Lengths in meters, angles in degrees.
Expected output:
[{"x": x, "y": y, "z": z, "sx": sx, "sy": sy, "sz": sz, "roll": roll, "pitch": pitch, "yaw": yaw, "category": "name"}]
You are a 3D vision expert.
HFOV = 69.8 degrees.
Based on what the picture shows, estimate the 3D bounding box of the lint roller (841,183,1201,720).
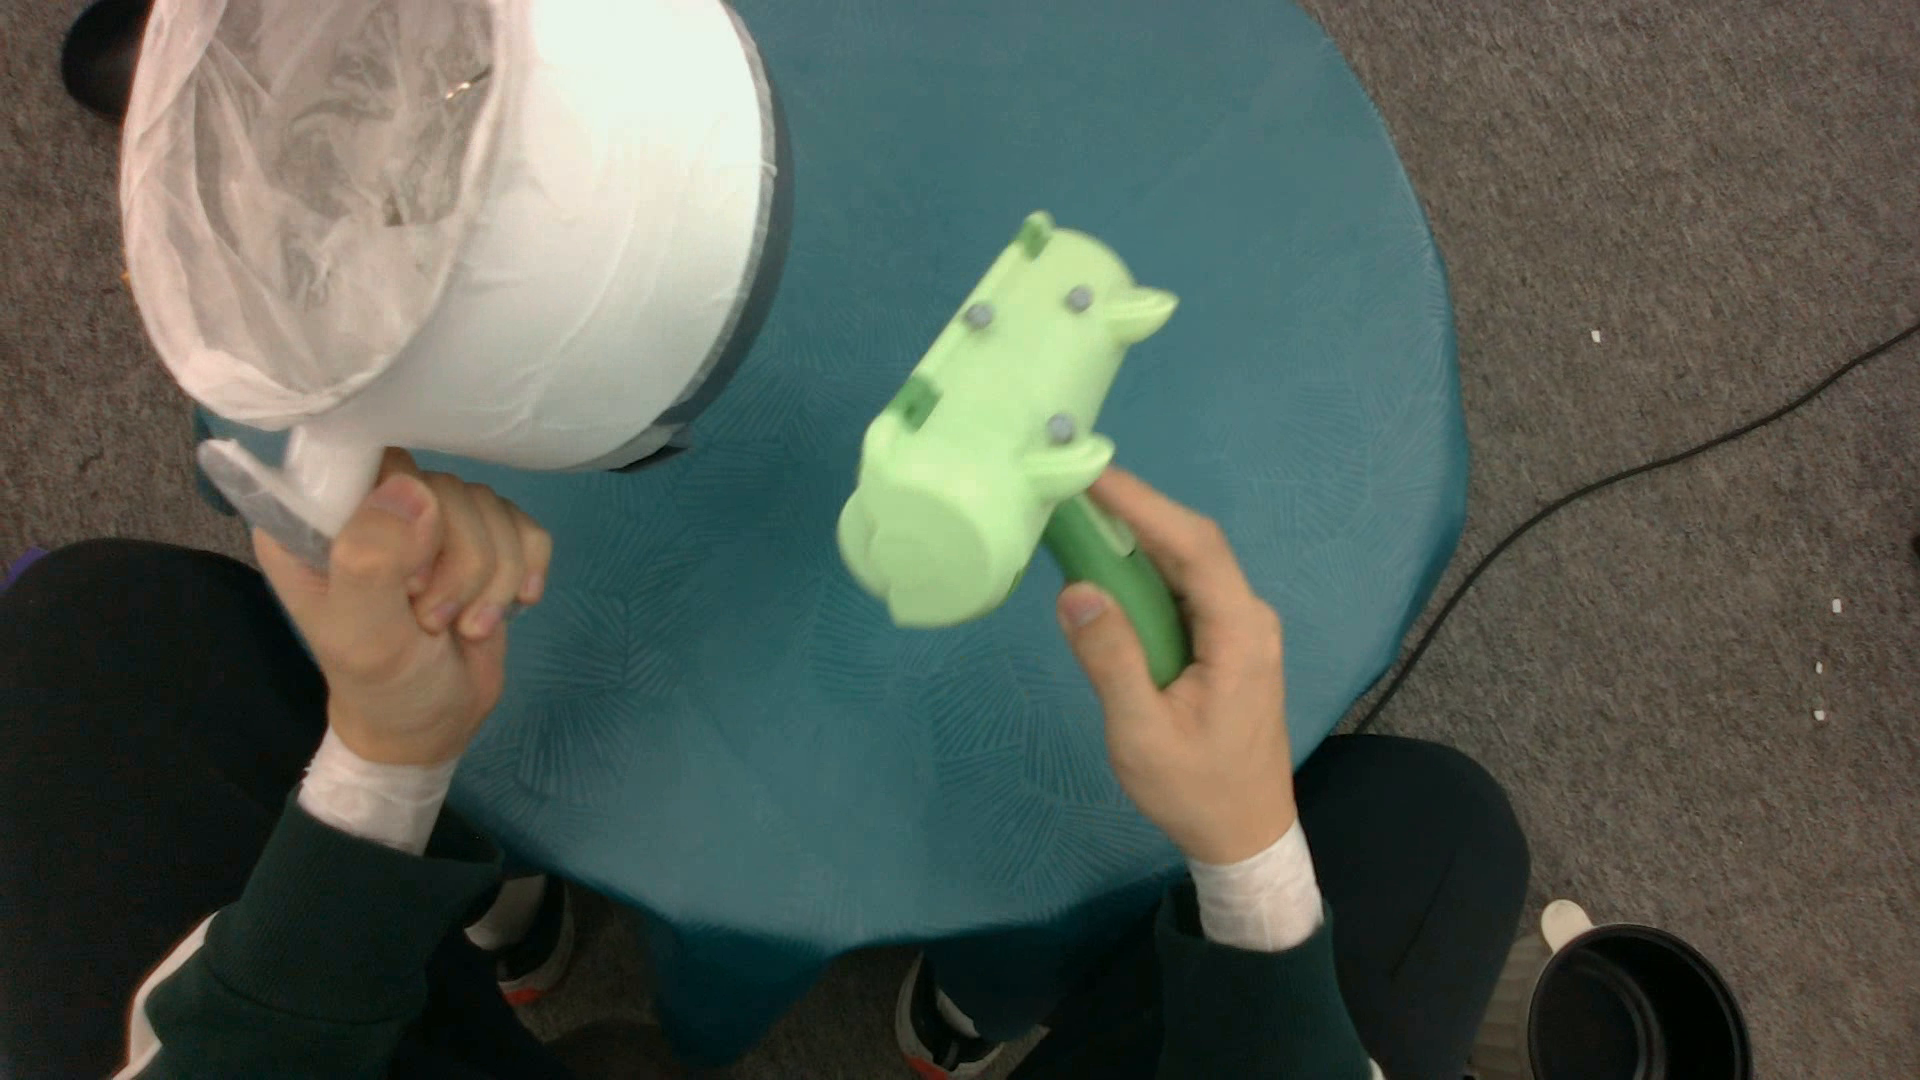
[{"x": 0.053, "y": -0.017, "z": 0.469, "sx": 0.183, "sy": 0.082, "sz": 0.199, "roll": 52, "pitch": 33, "yaw": -16, "category": "lint roller"}]

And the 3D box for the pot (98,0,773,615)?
[{"x": -0.167, "y": -0.090, "z": 0.446, "sx": 0.178, "sy": 0.137, "sz": 0.233, "roll": 15, "pitch": 93, "yaw": 28, "category": "pot"}]
